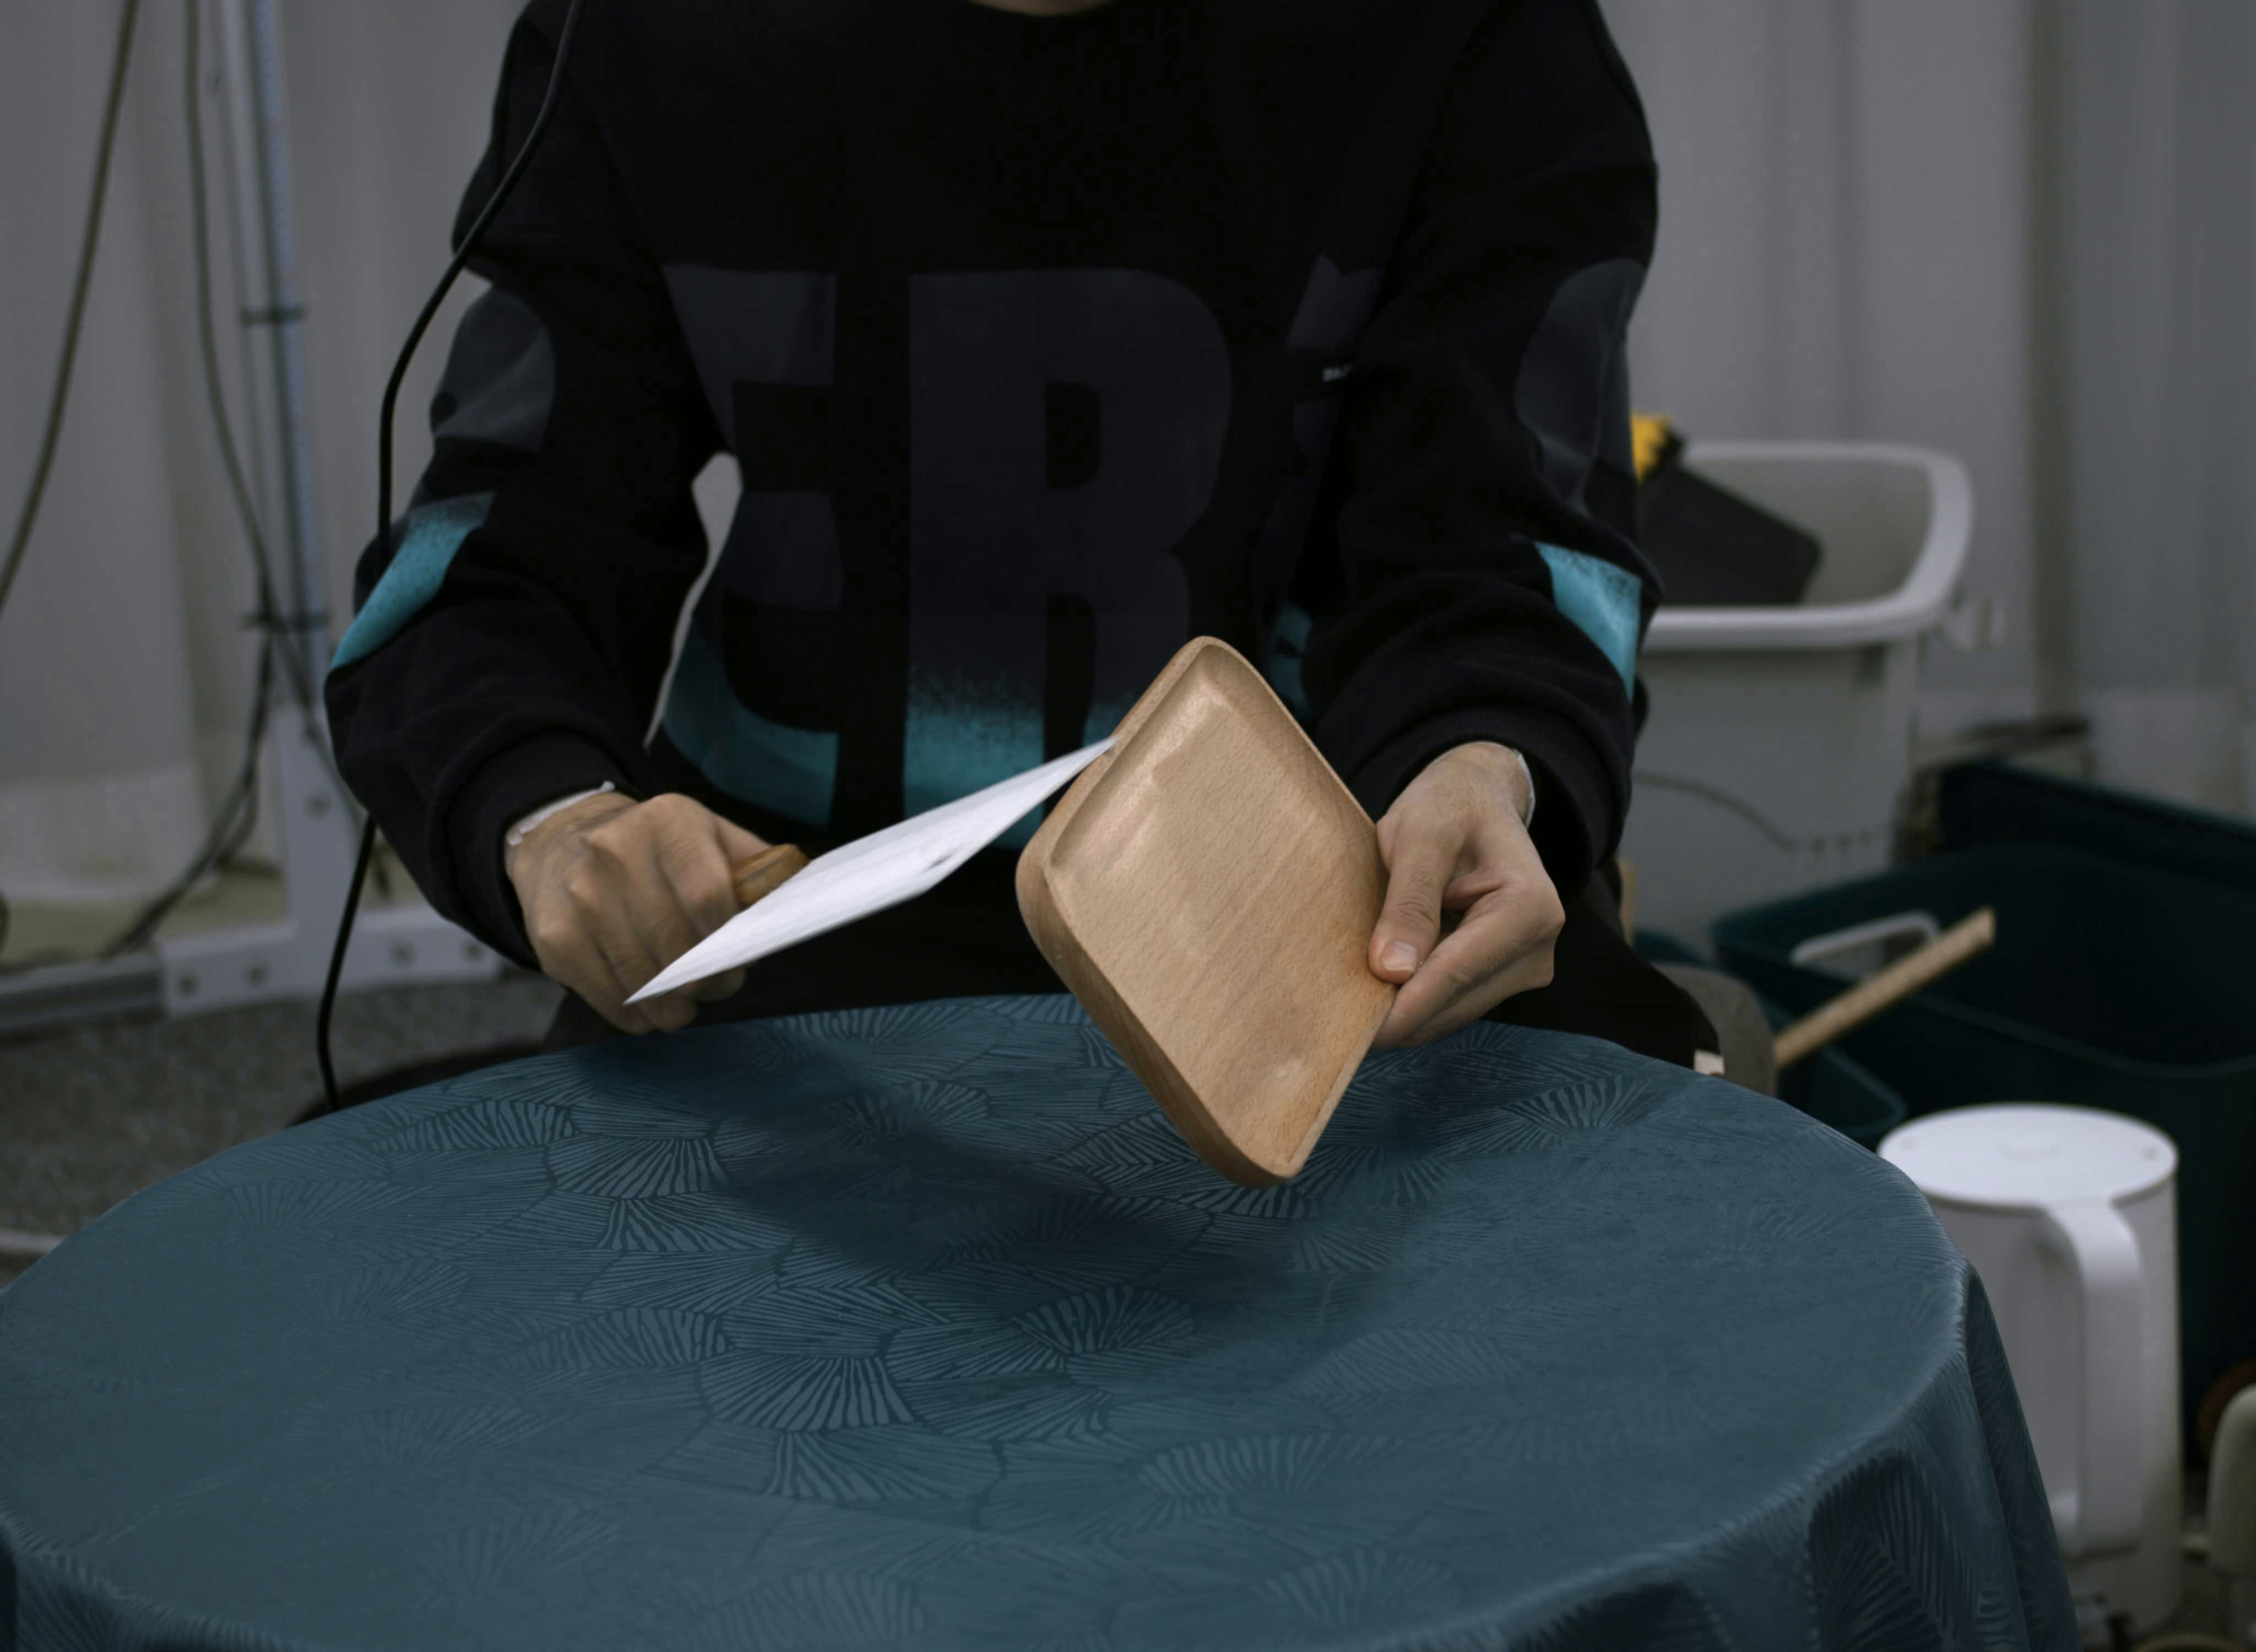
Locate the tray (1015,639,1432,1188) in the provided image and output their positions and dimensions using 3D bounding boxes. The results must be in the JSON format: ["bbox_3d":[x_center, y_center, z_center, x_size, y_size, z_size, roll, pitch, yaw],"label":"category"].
[{"bbox_3d":[0.032,0.024,1.687,0.023,0.130,0.252,-32,6,21],"label":"tray"}]

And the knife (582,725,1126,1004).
[{"bbox_3d":[-0.109,0.024,1.762,0.093,0.021,0.305,-40,11,-35],"label":"knife"}]
